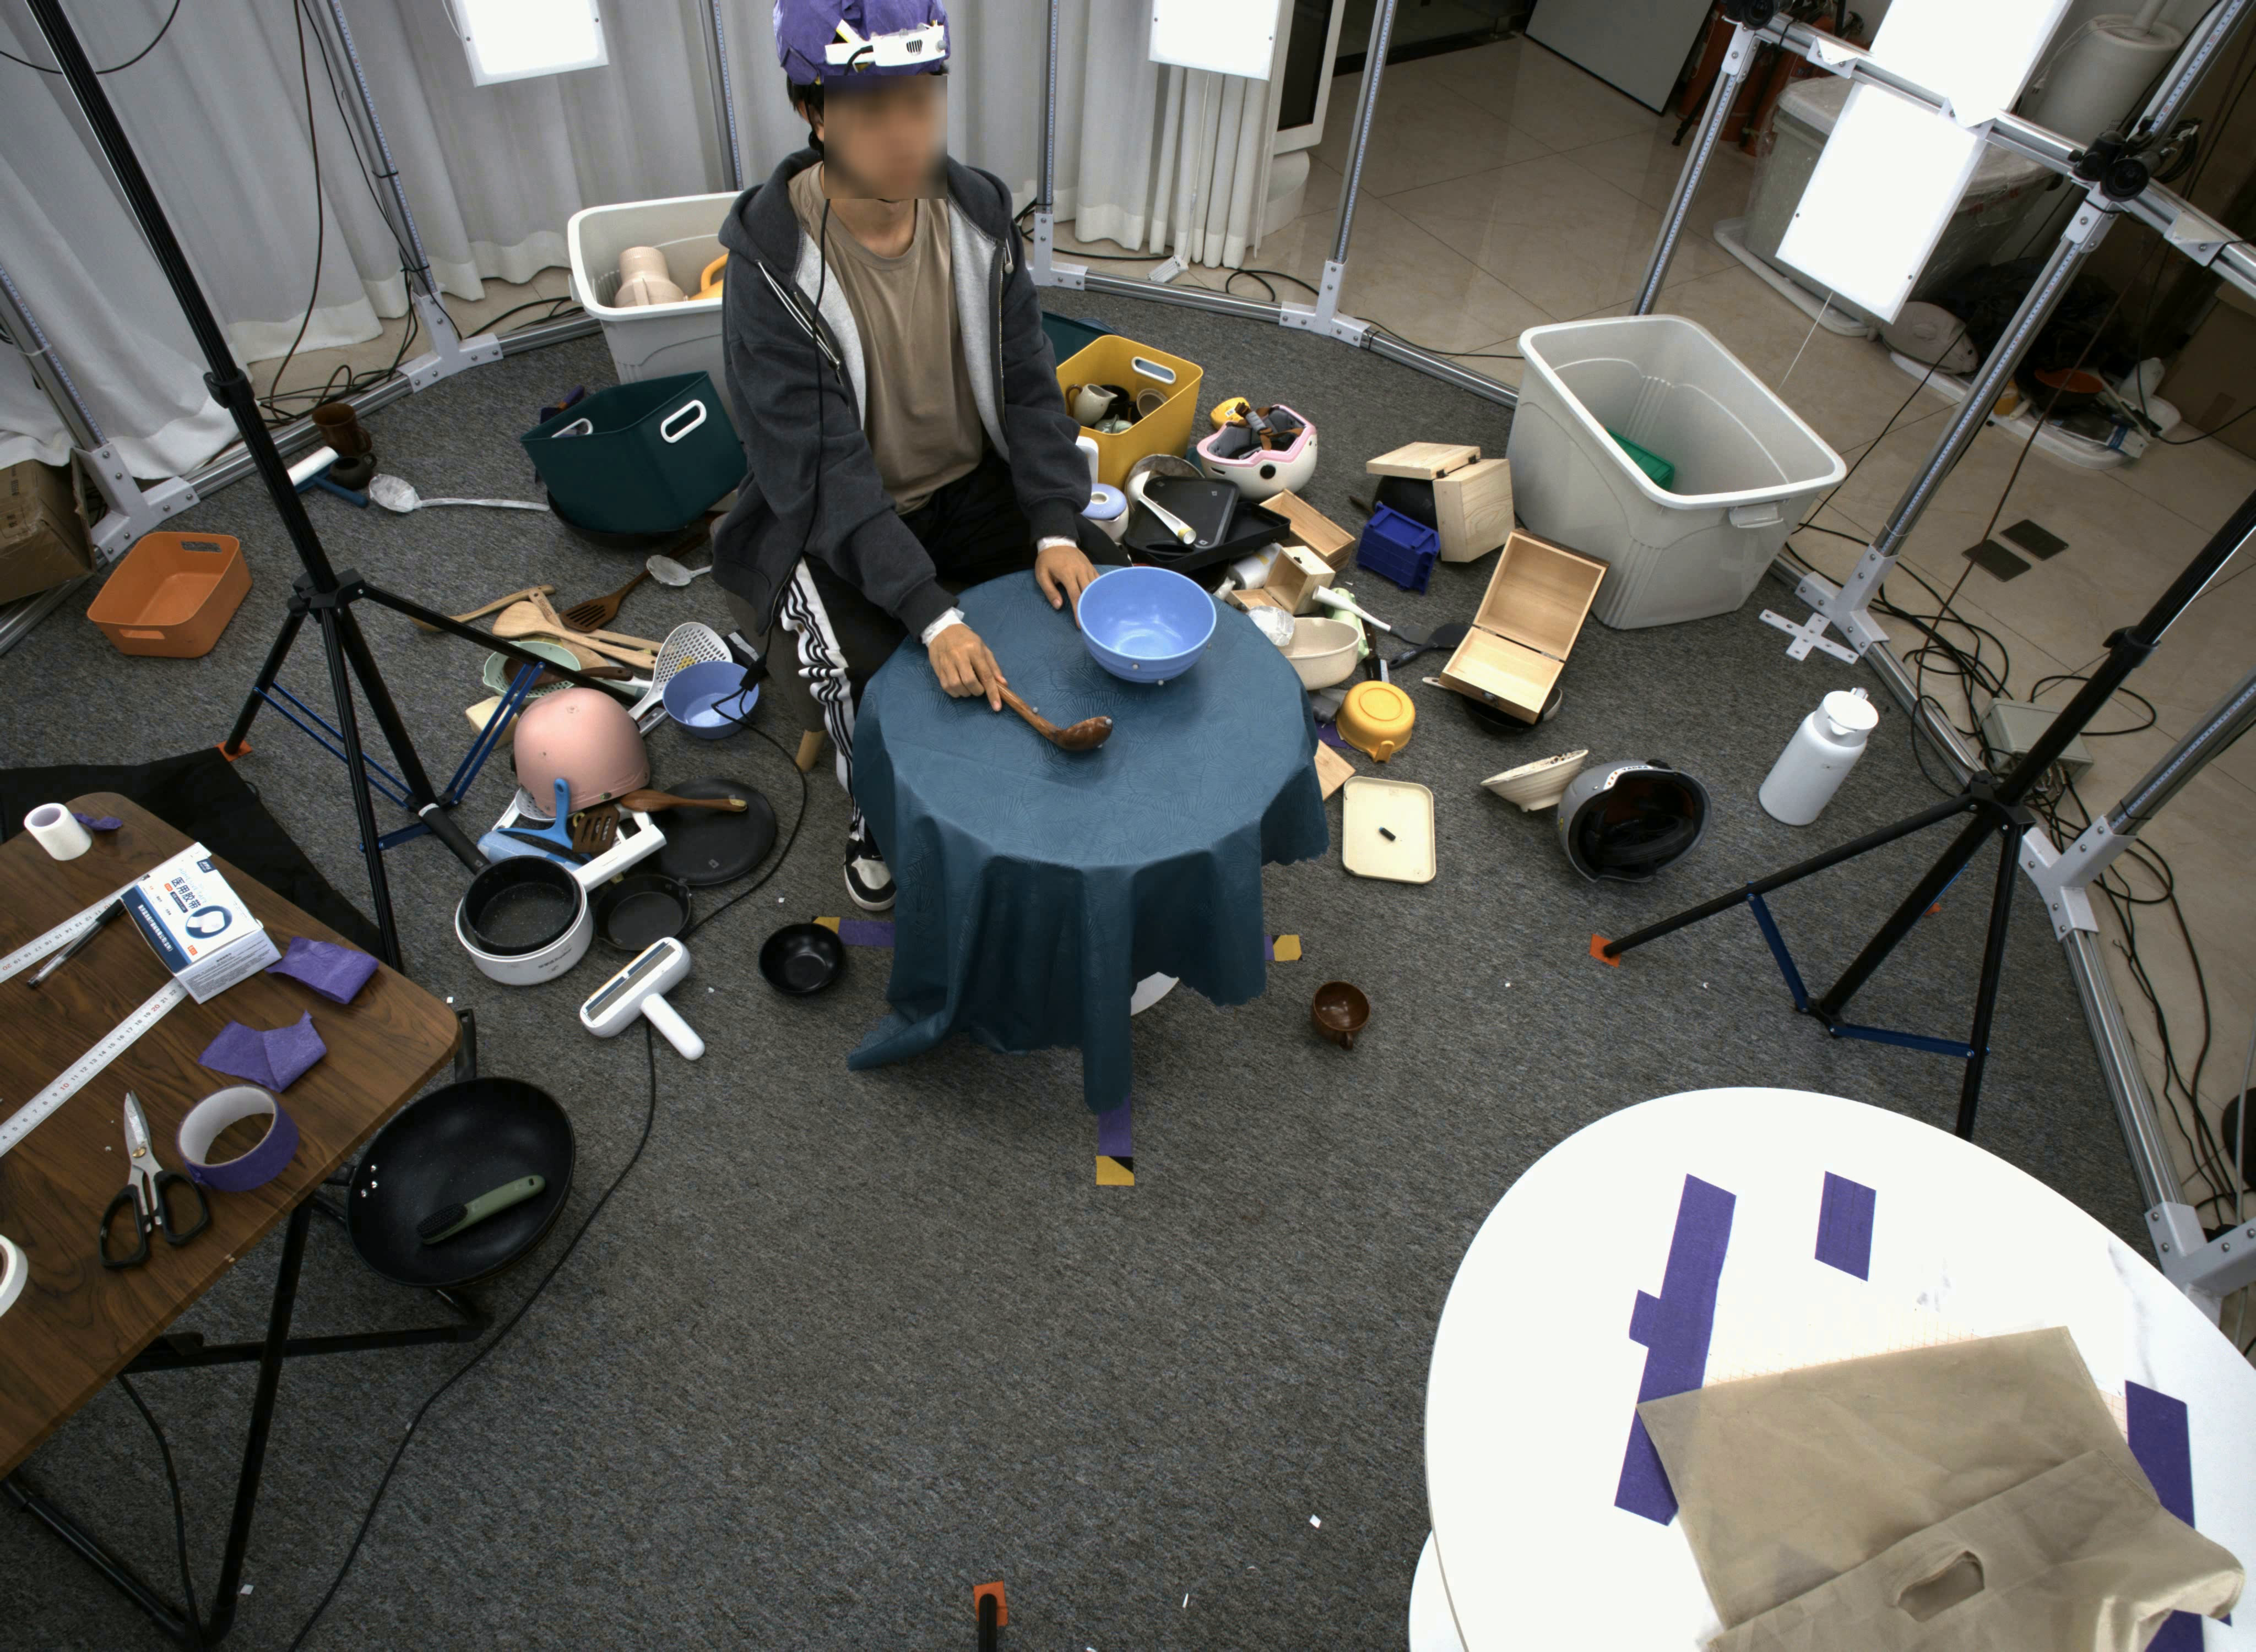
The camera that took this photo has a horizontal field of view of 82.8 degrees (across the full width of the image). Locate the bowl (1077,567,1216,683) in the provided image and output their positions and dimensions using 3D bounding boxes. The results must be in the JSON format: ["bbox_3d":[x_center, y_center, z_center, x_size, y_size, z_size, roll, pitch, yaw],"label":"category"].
[{"bbox_3d":[0.024,-0.273,1.845,0.196,0.093,0.201,1,49,-2],"label":"bowl"}]

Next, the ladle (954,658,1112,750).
[{"bbox_3d":[-0.136,-0.187,1.772,0.278,0.076,0.081,39,22,27],"label":"ladle"}]
